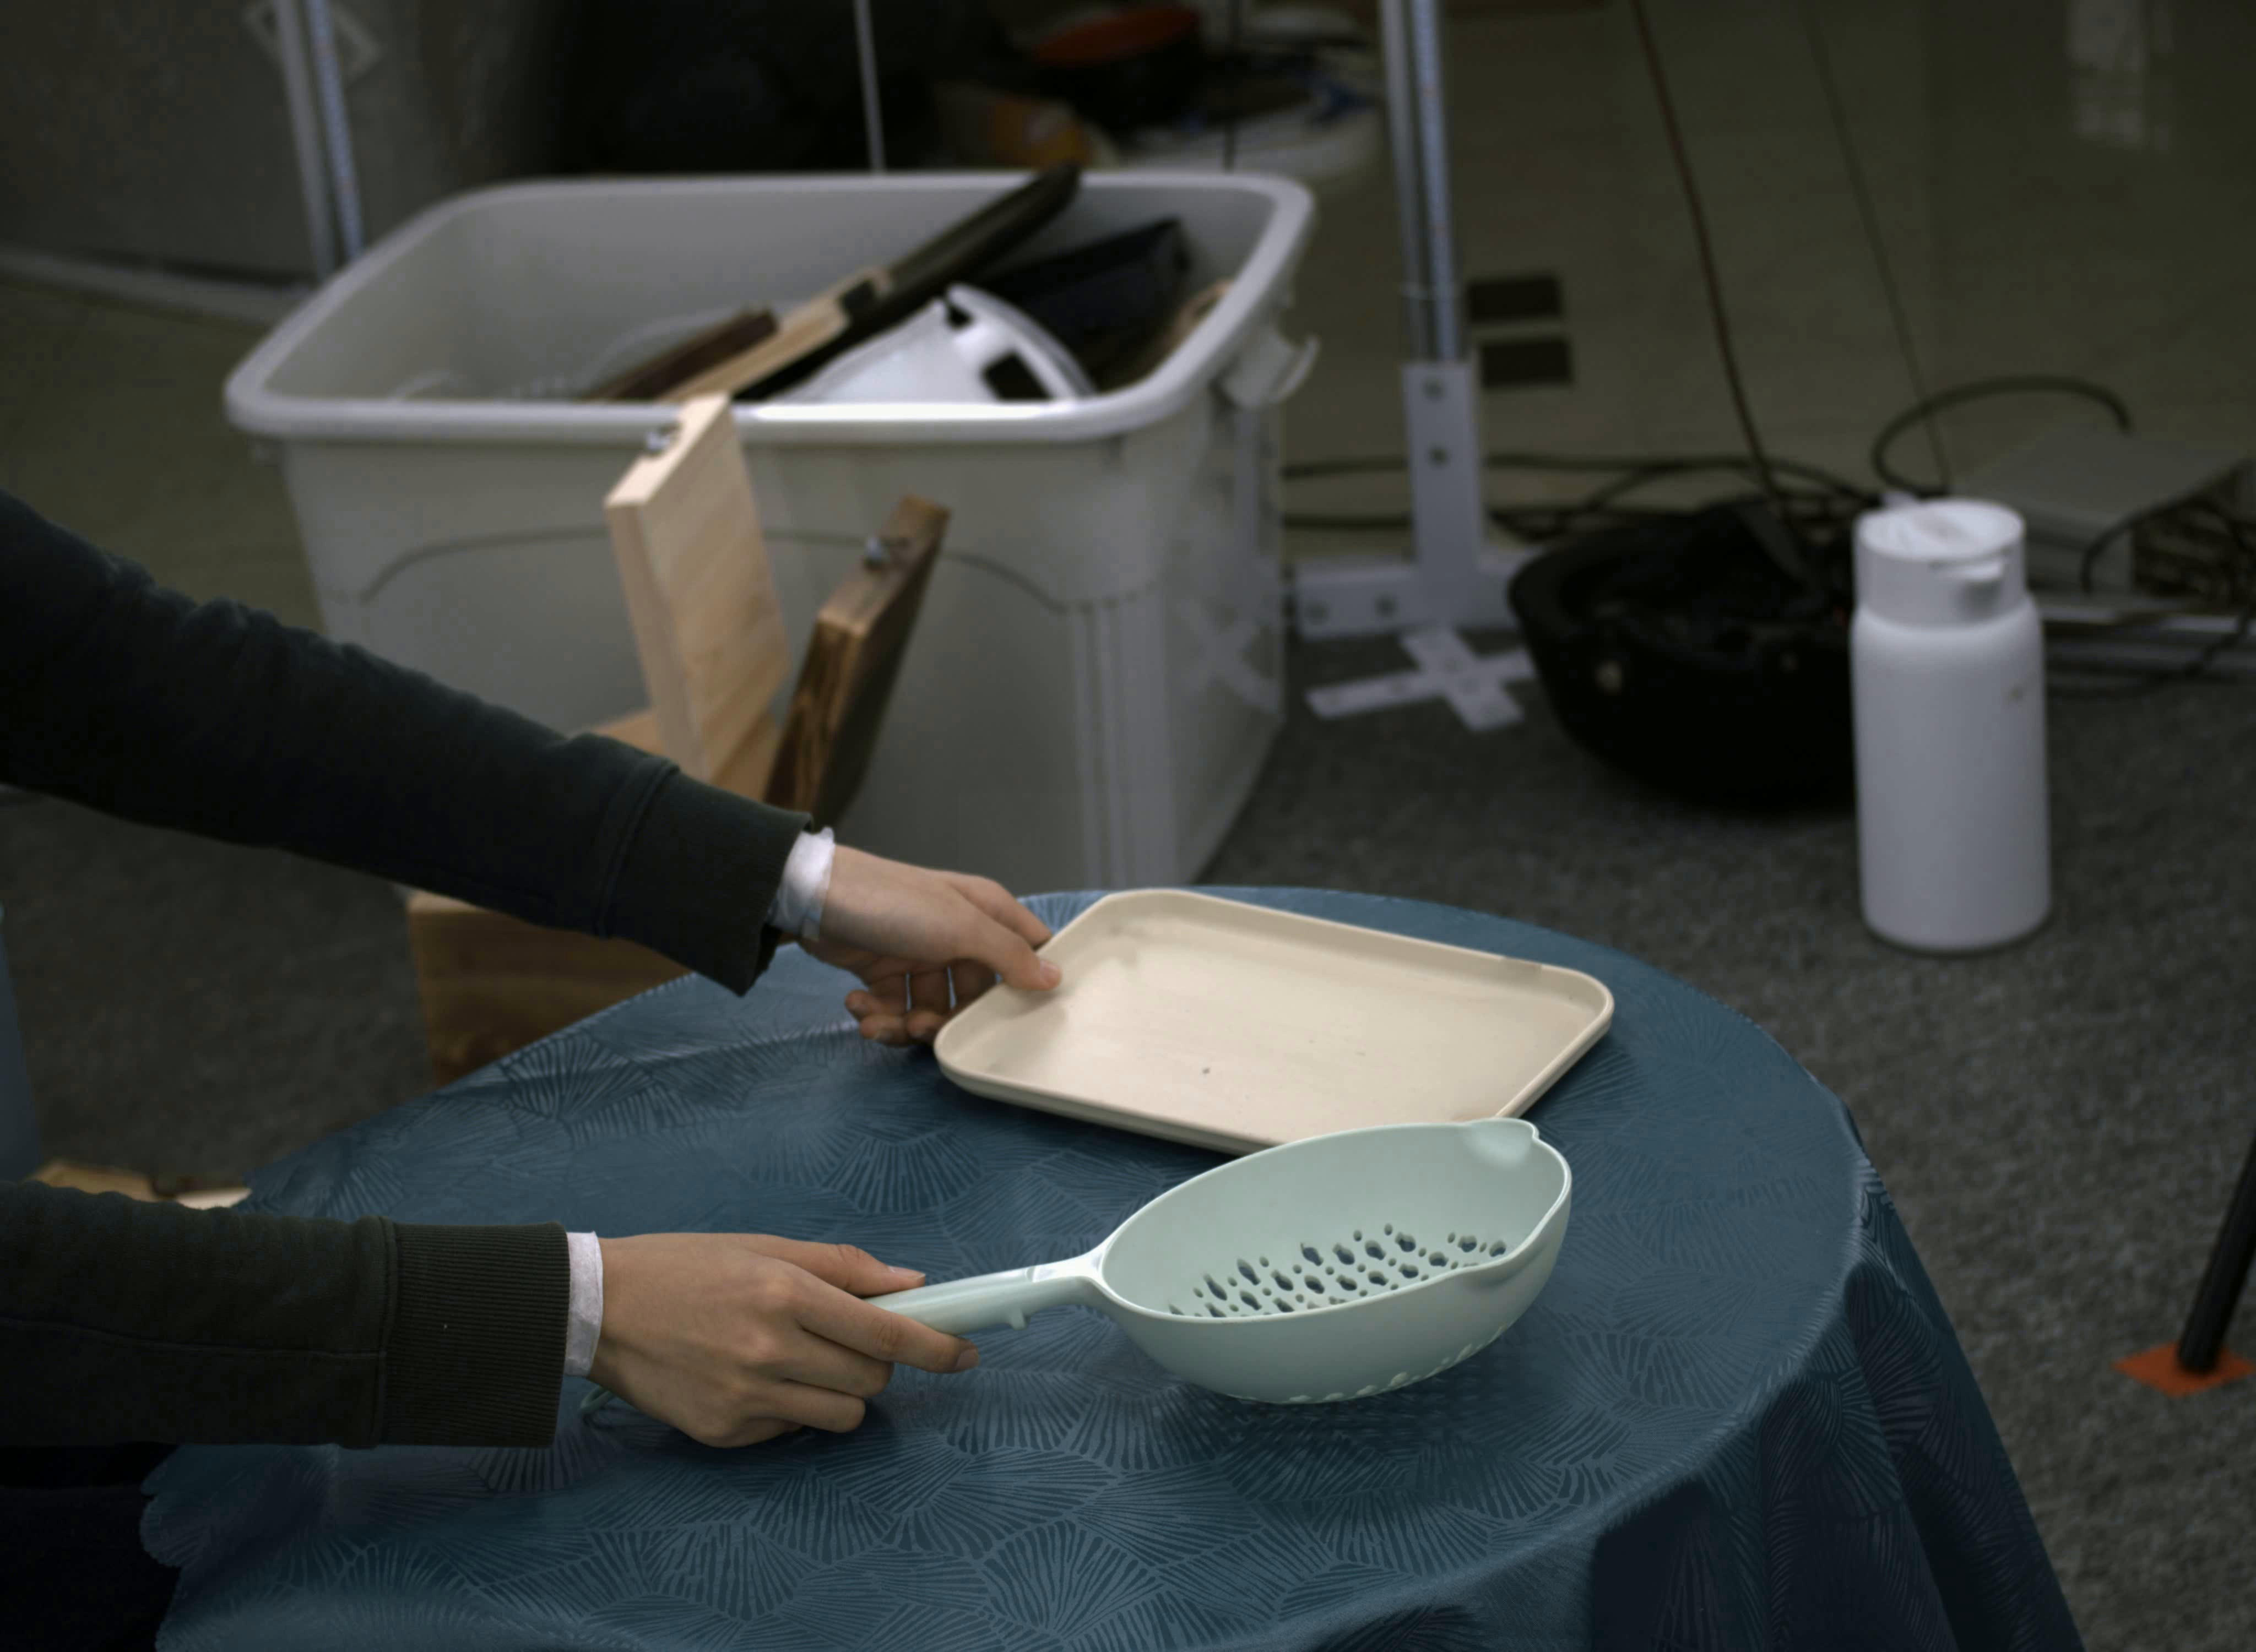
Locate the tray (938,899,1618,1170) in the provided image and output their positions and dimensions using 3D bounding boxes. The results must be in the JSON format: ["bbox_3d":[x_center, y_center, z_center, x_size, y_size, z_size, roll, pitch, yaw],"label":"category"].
[{"bbox_3d":[0.059,0.085,2.226,0.238,0.018,0.169,10,30,29],"label":"tray"}]

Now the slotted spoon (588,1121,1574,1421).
[{"bbox_3d":[-0.019,0.168,2.013,0.358,0.076,0.167,-3,17,6],"label":"slotted spoon"}]
